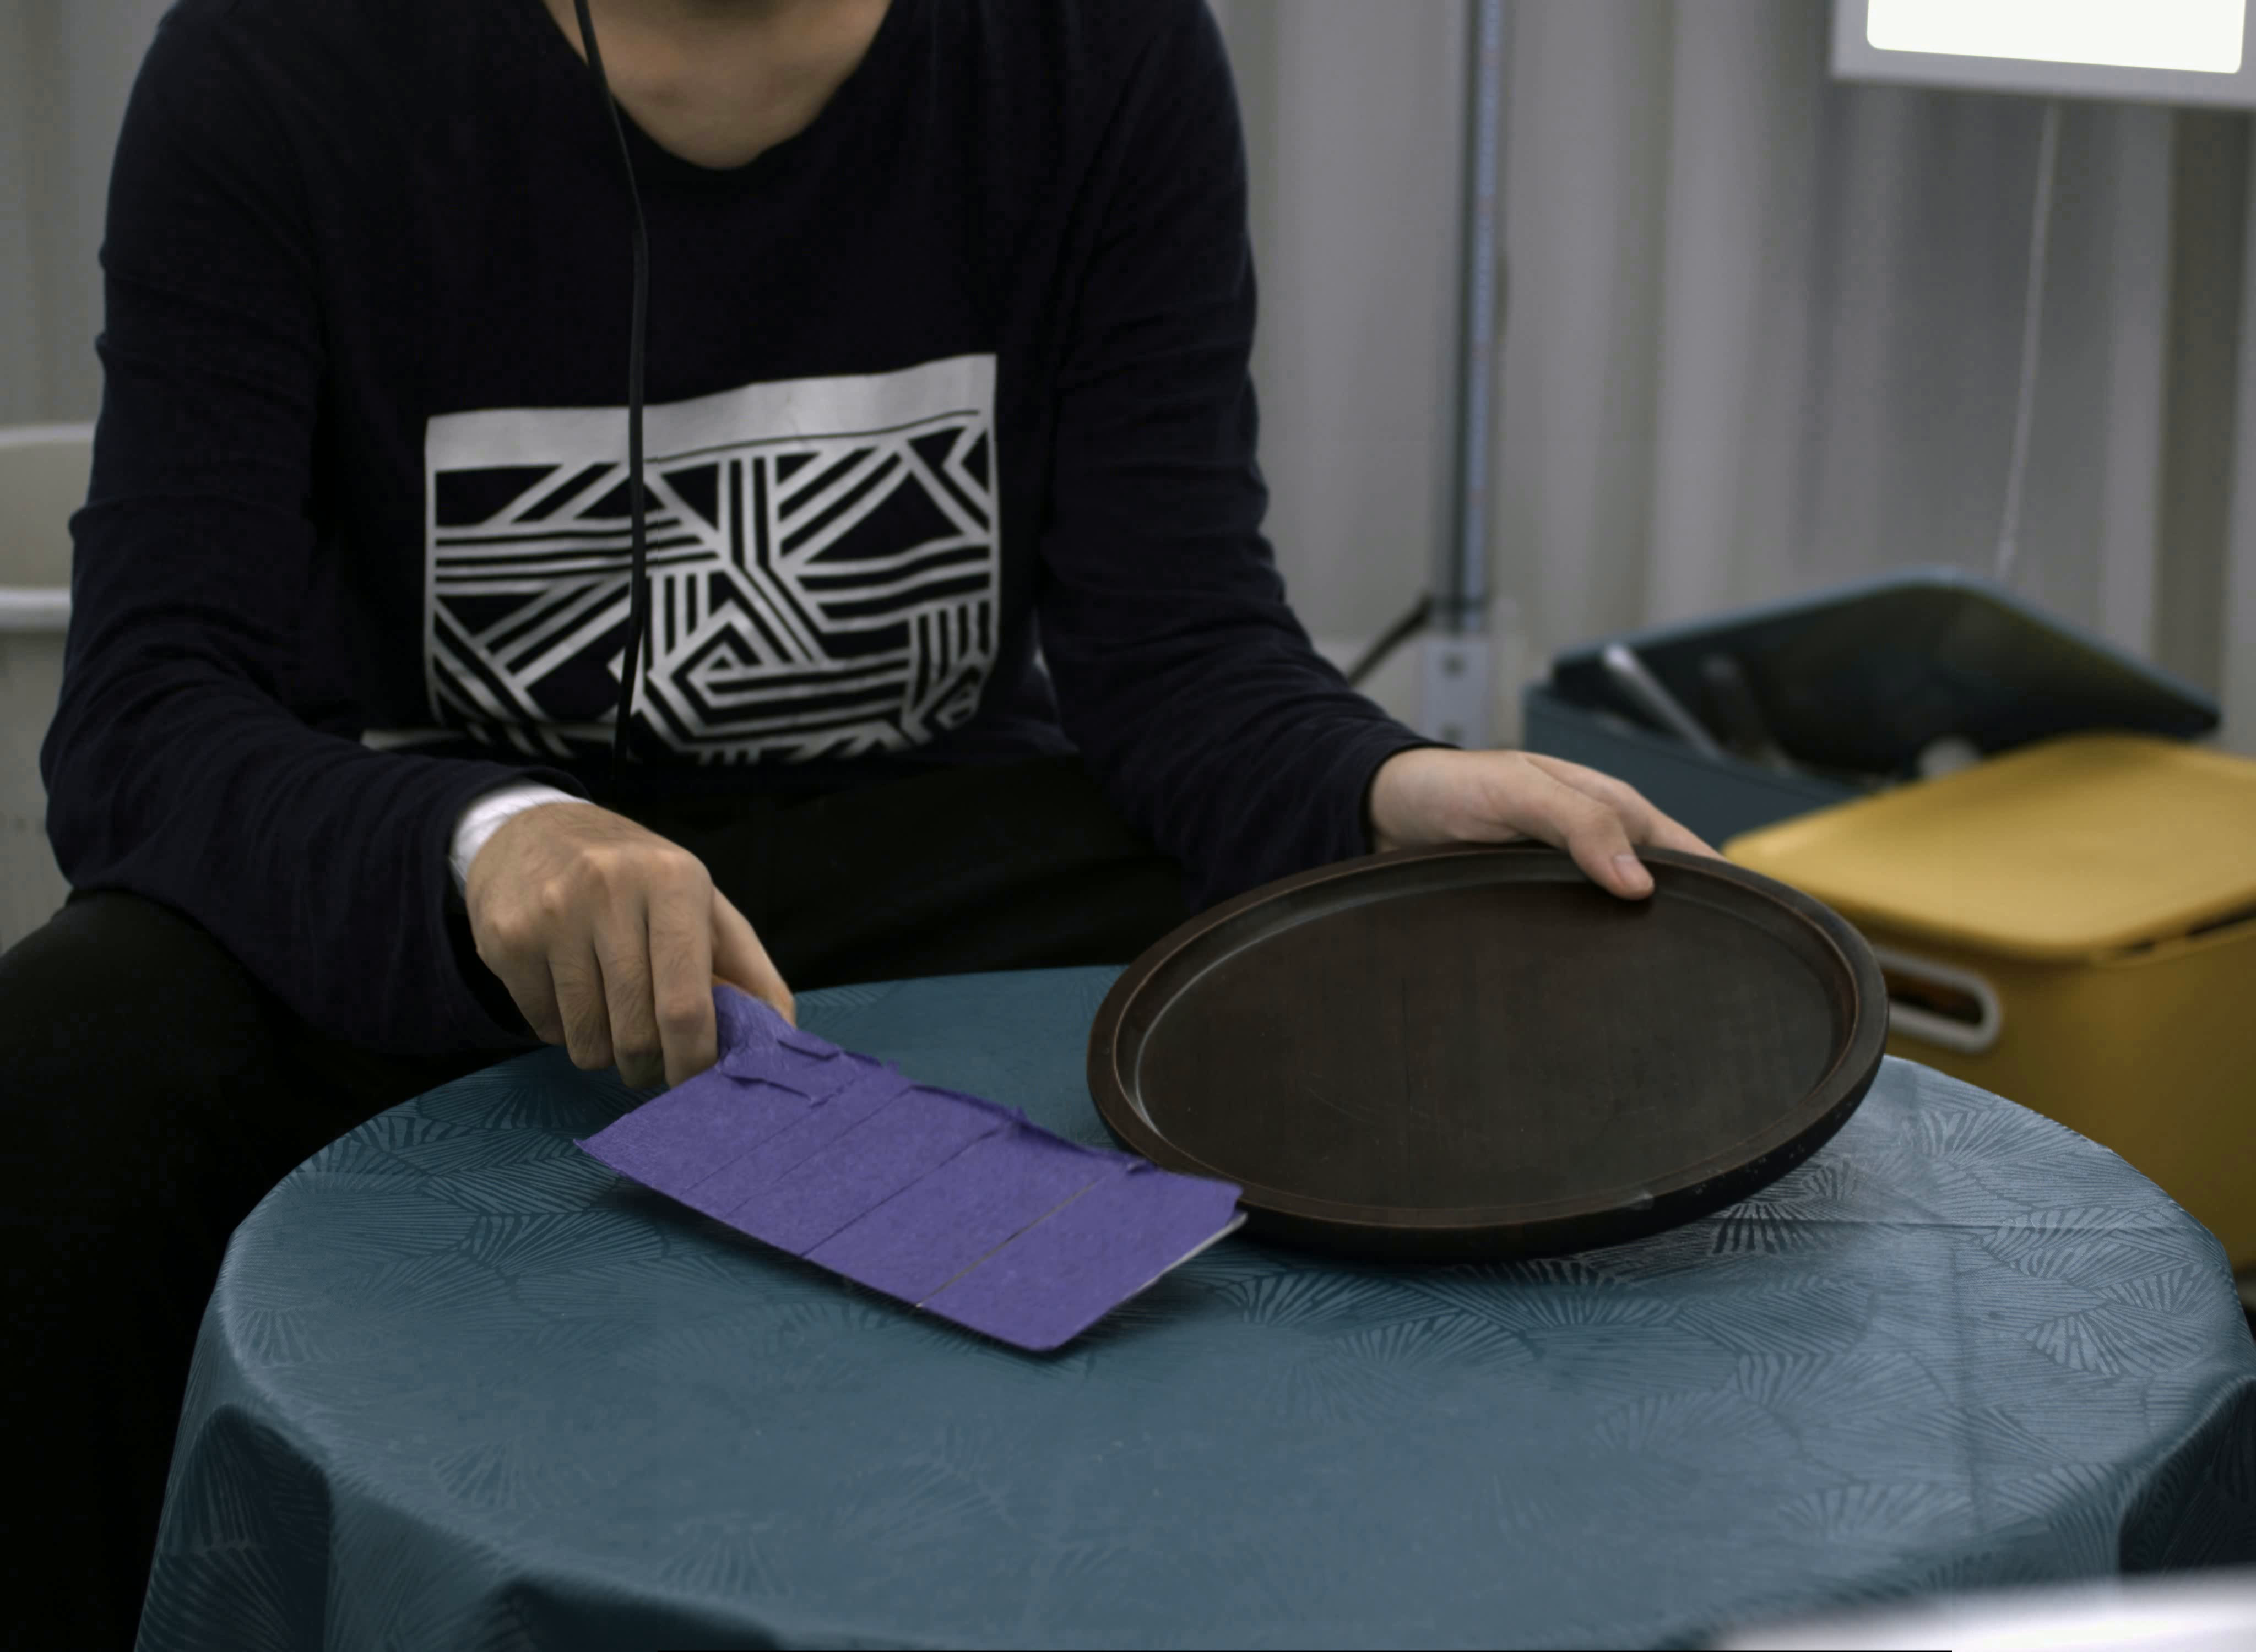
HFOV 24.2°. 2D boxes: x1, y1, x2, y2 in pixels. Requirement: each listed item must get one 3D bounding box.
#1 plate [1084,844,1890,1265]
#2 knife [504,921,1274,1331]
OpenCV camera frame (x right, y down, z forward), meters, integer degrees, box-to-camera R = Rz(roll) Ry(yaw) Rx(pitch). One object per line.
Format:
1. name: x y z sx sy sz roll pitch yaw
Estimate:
1. plate: 0.112 0.069 1.653 0.254 0.029 0.253 -4 27 3
2. knife: -0.102 0.088 1.605 0.311 0.032 0.104 16 35 41
